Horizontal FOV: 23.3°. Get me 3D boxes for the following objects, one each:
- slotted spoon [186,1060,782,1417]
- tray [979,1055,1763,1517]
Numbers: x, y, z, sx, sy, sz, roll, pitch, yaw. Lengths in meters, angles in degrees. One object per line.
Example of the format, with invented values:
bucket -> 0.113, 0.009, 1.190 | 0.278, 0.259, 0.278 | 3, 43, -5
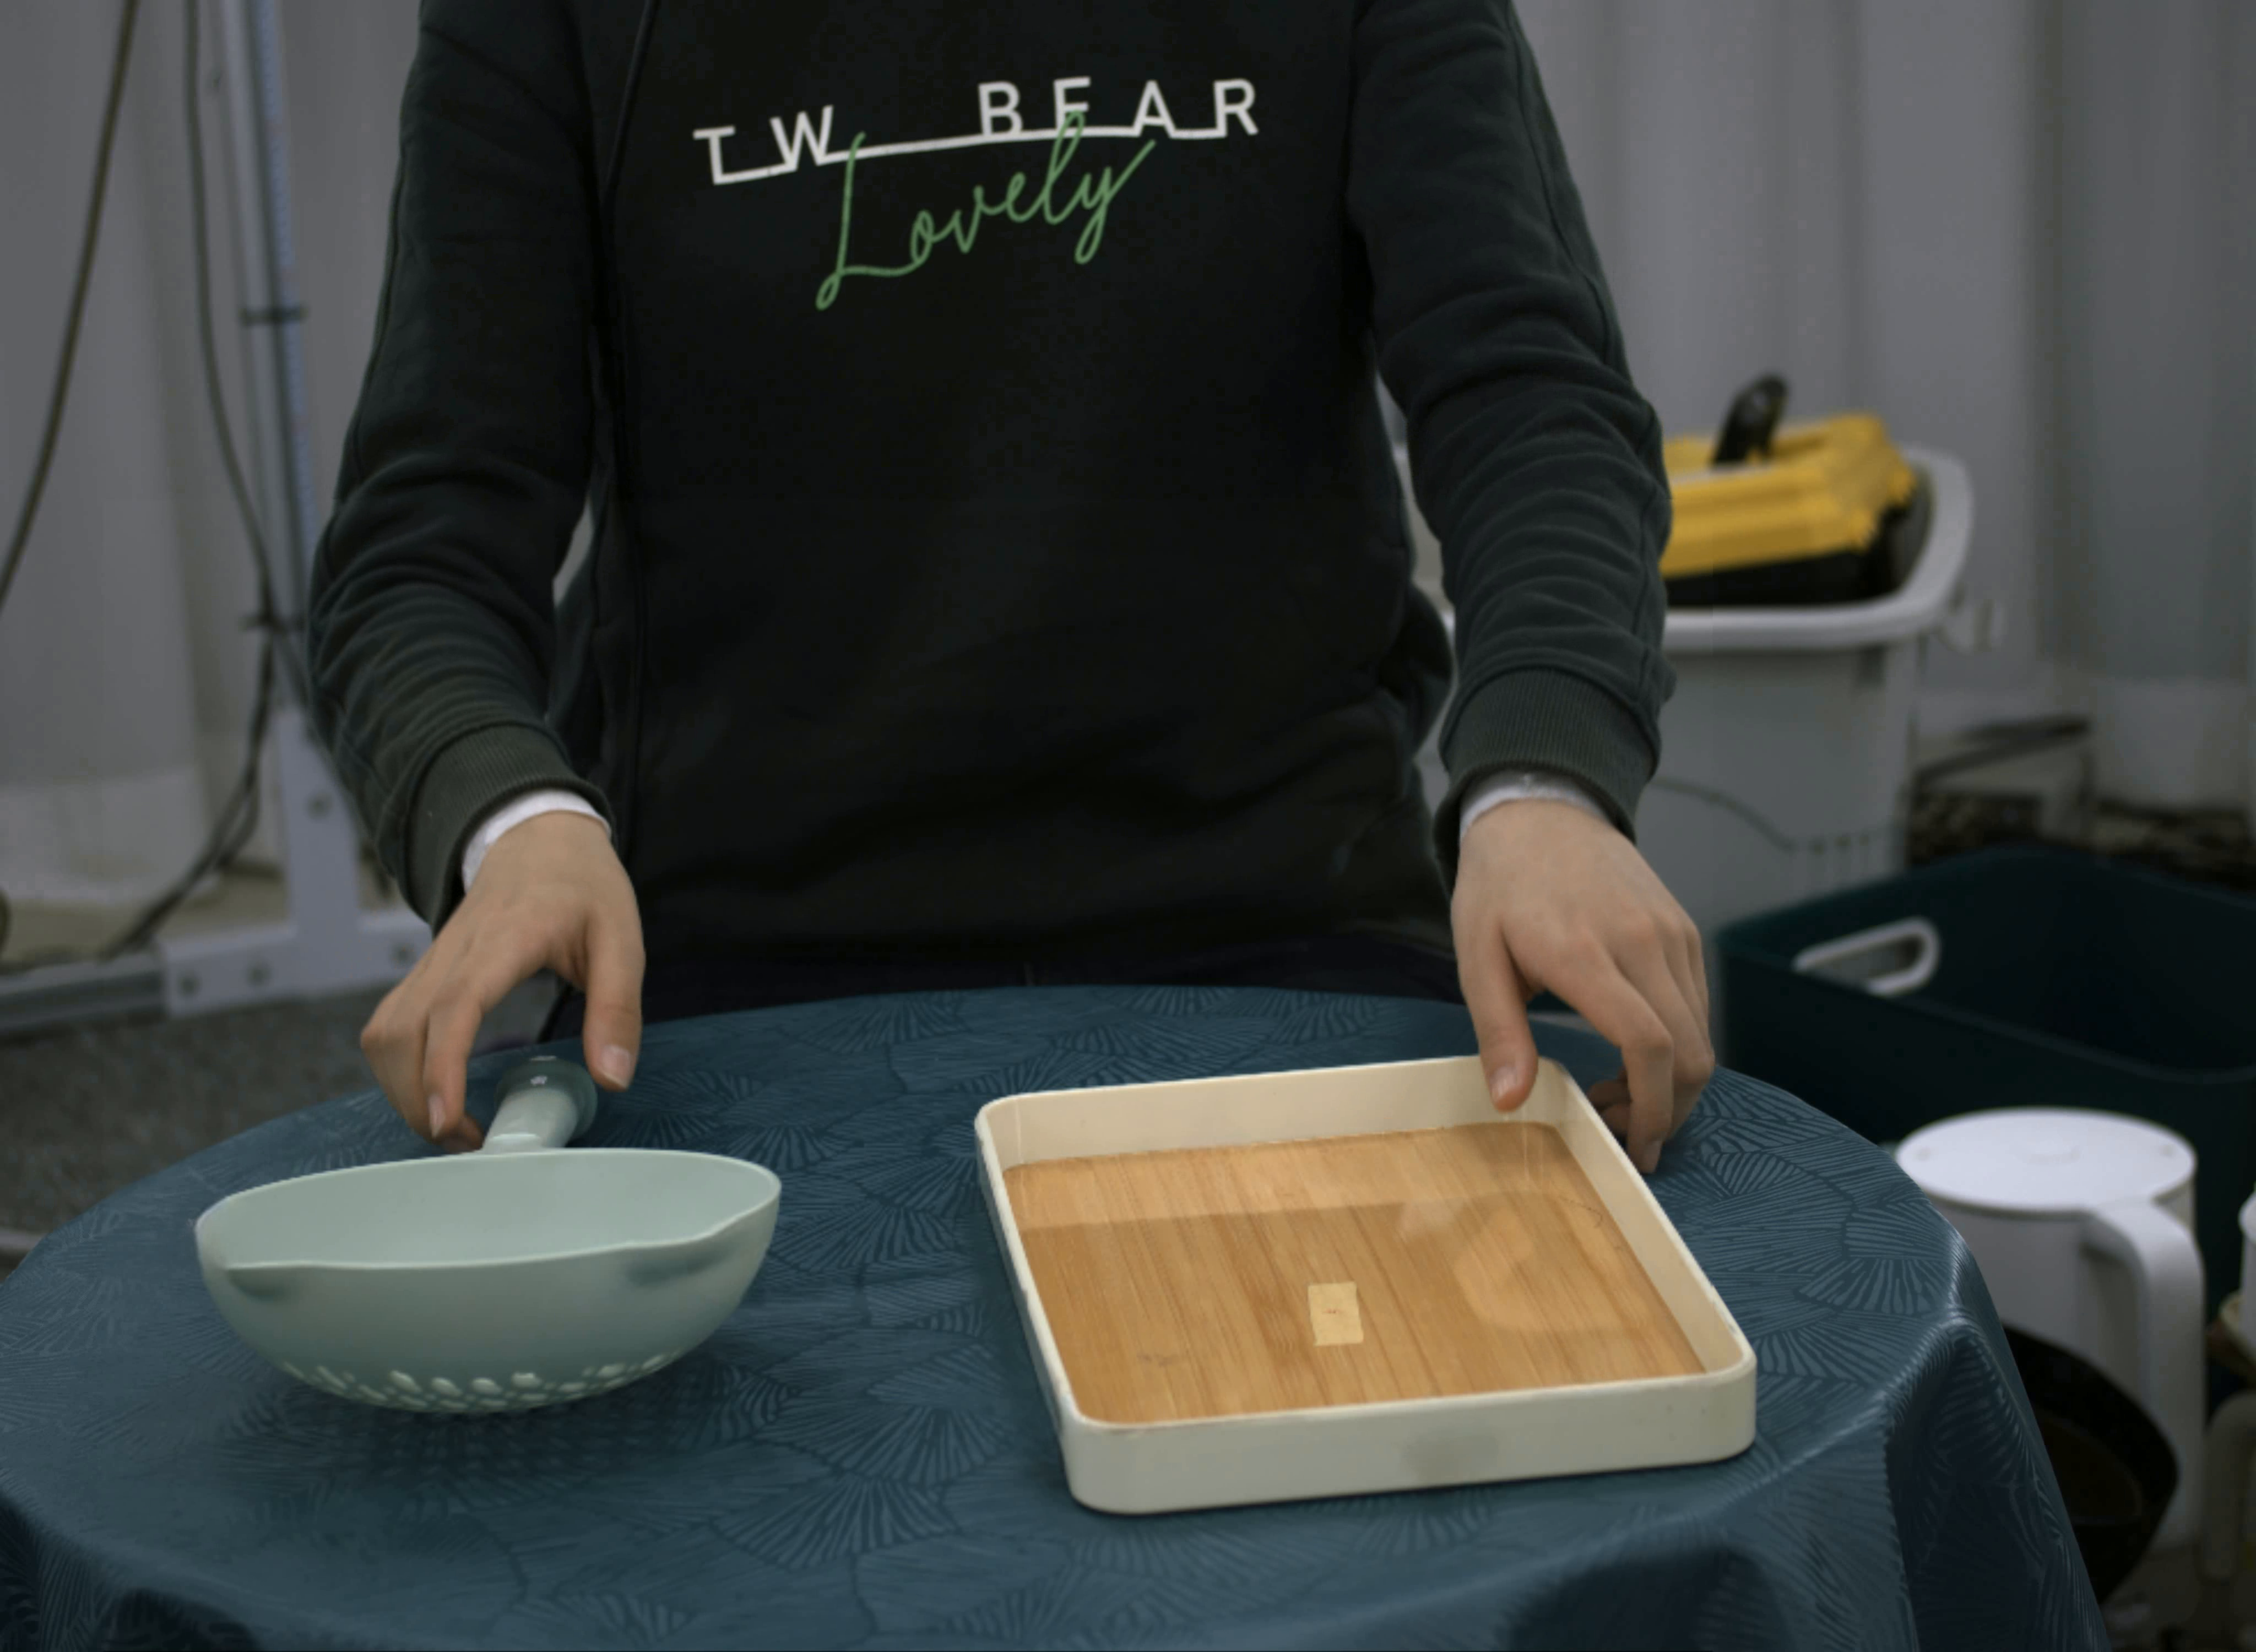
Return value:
slotted spoon -> -0.184, 0.108, 1.651 | 0.169, 0.075, 0.361 | -2, 15, -1
tray -> 0.063, 0.129, 1.598 | 0.191, 0.027, 0.302 | -4, 15, -5
